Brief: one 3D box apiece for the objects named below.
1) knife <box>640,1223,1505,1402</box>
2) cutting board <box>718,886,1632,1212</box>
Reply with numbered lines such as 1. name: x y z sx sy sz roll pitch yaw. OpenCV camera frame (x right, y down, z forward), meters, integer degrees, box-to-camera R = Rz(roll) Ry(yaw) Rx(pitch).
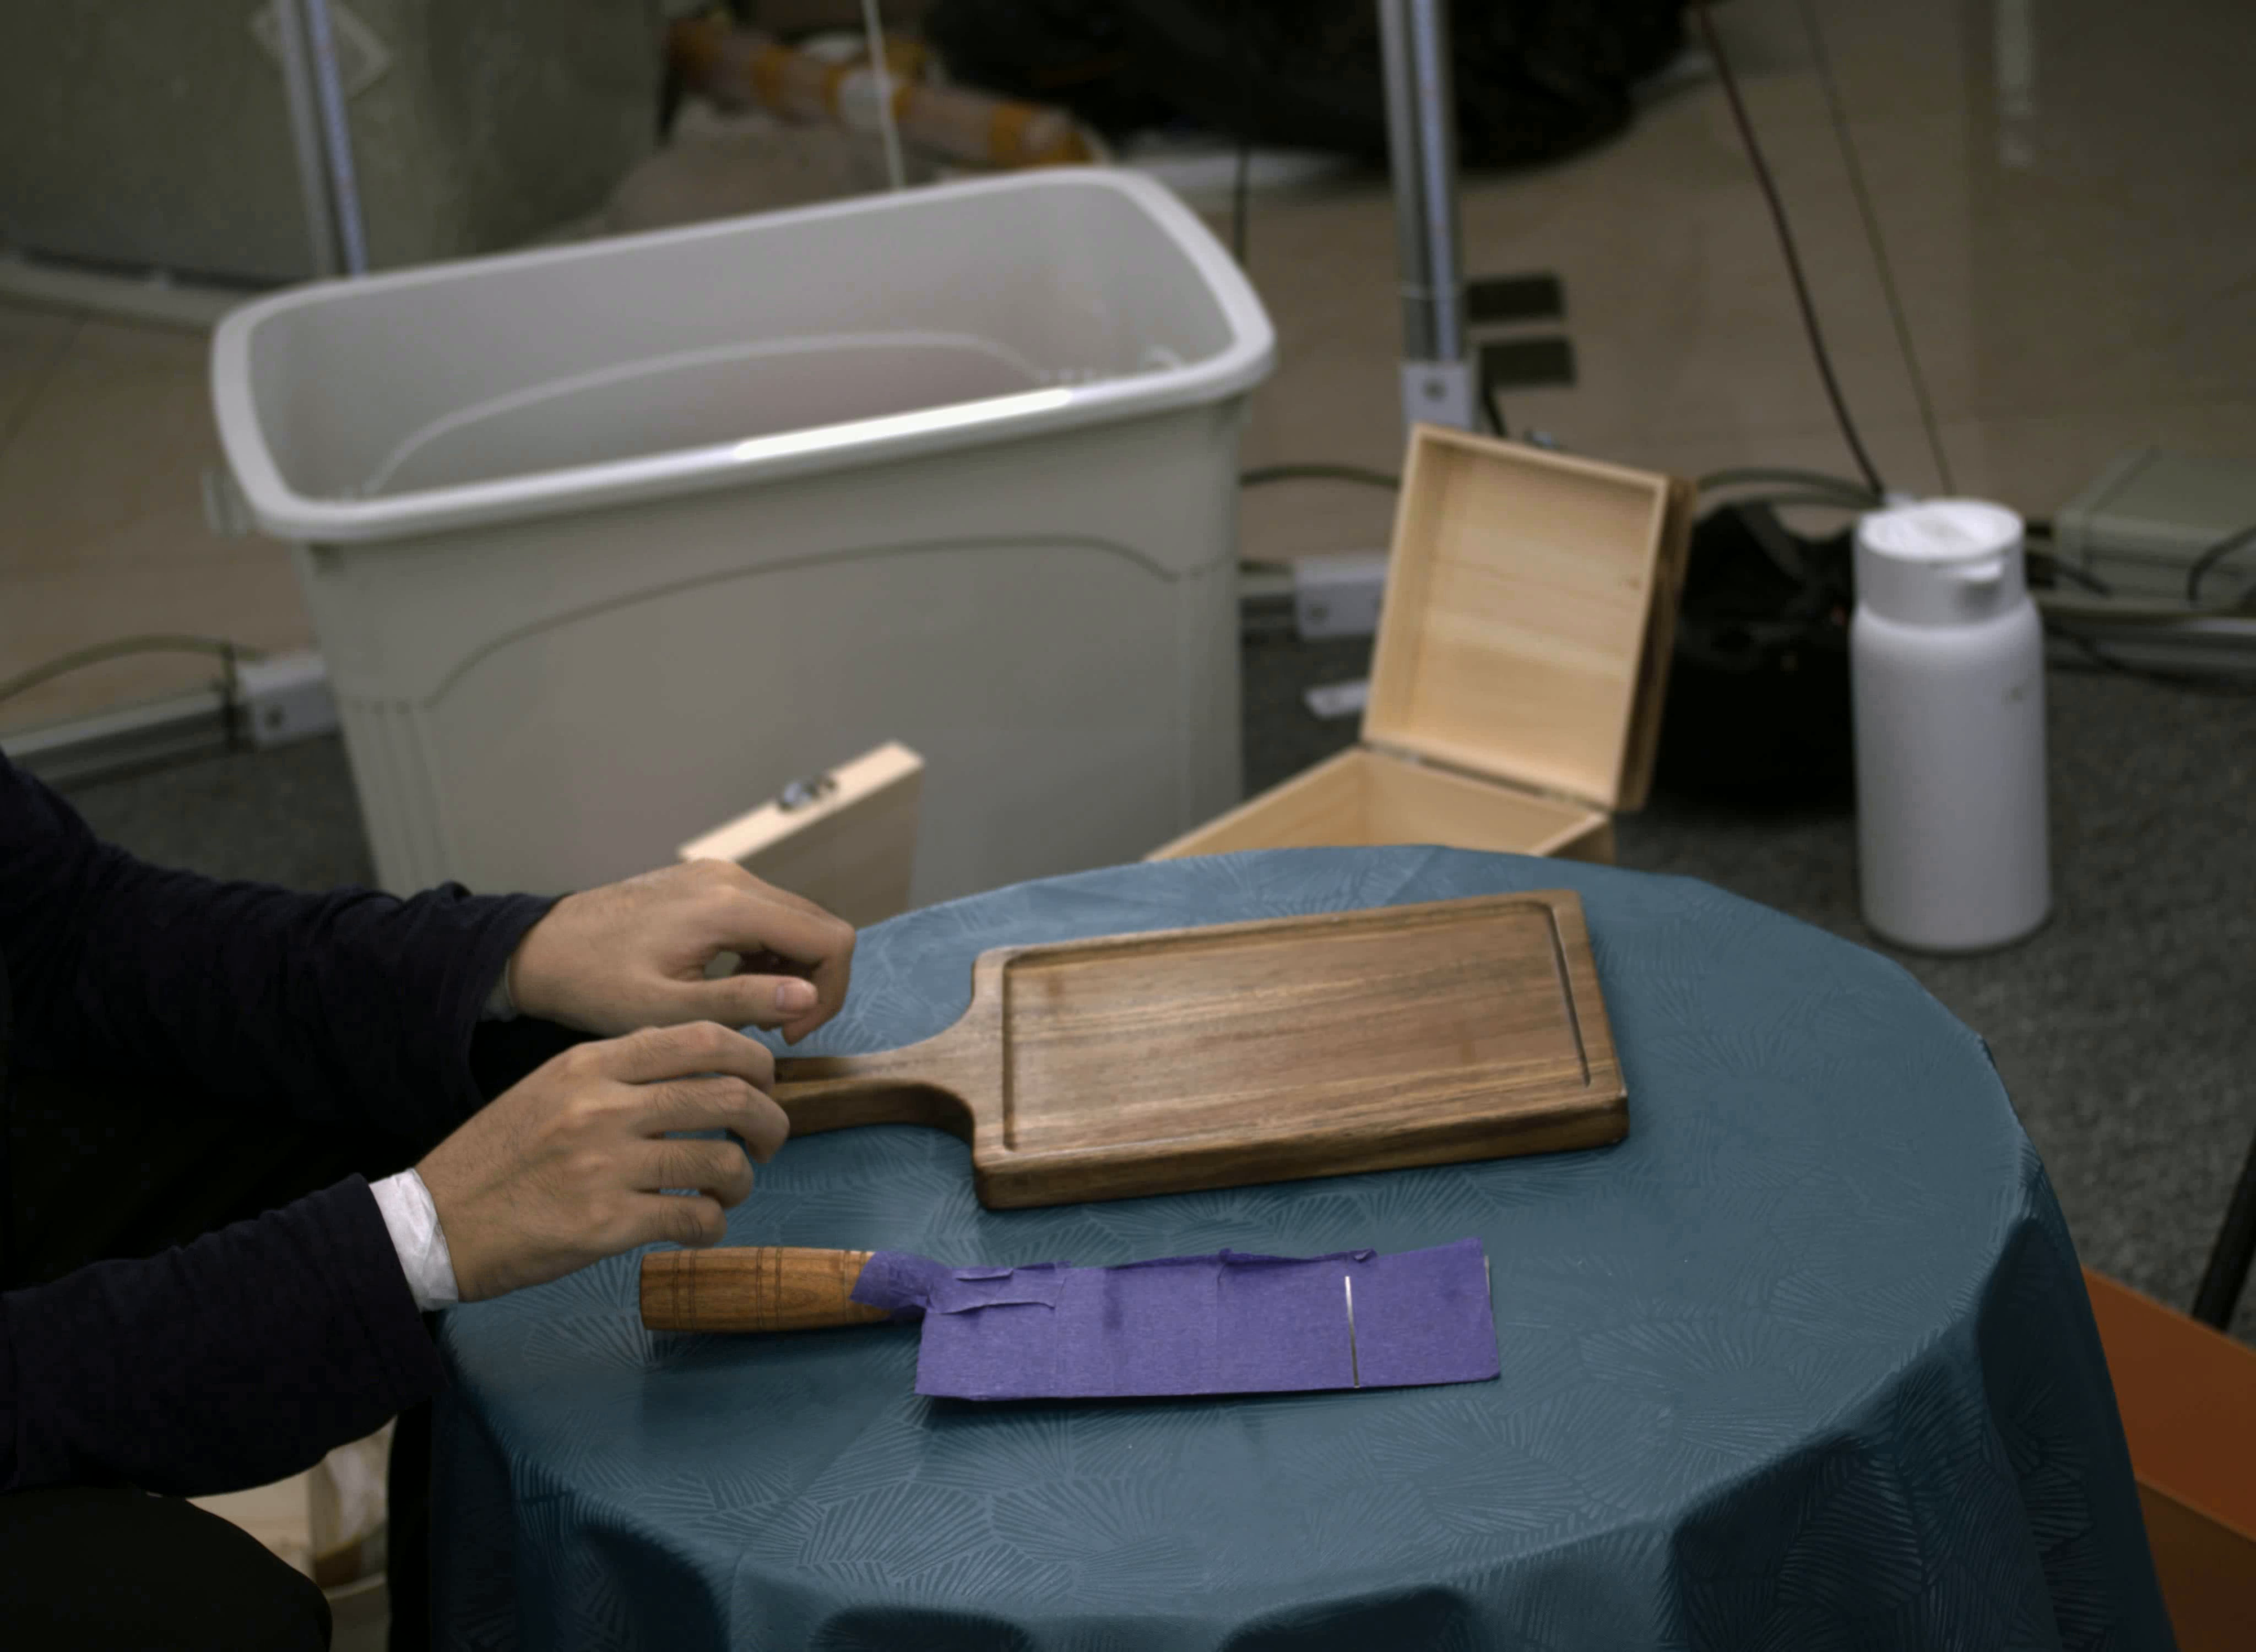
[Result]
1. knife: -0.023 0.177 2.044 0.315 0.033 0.102 -5 25 3
2. cutting board: 0.014 0.090 2.229 0.351 0.023 0.198 -6 25 1
